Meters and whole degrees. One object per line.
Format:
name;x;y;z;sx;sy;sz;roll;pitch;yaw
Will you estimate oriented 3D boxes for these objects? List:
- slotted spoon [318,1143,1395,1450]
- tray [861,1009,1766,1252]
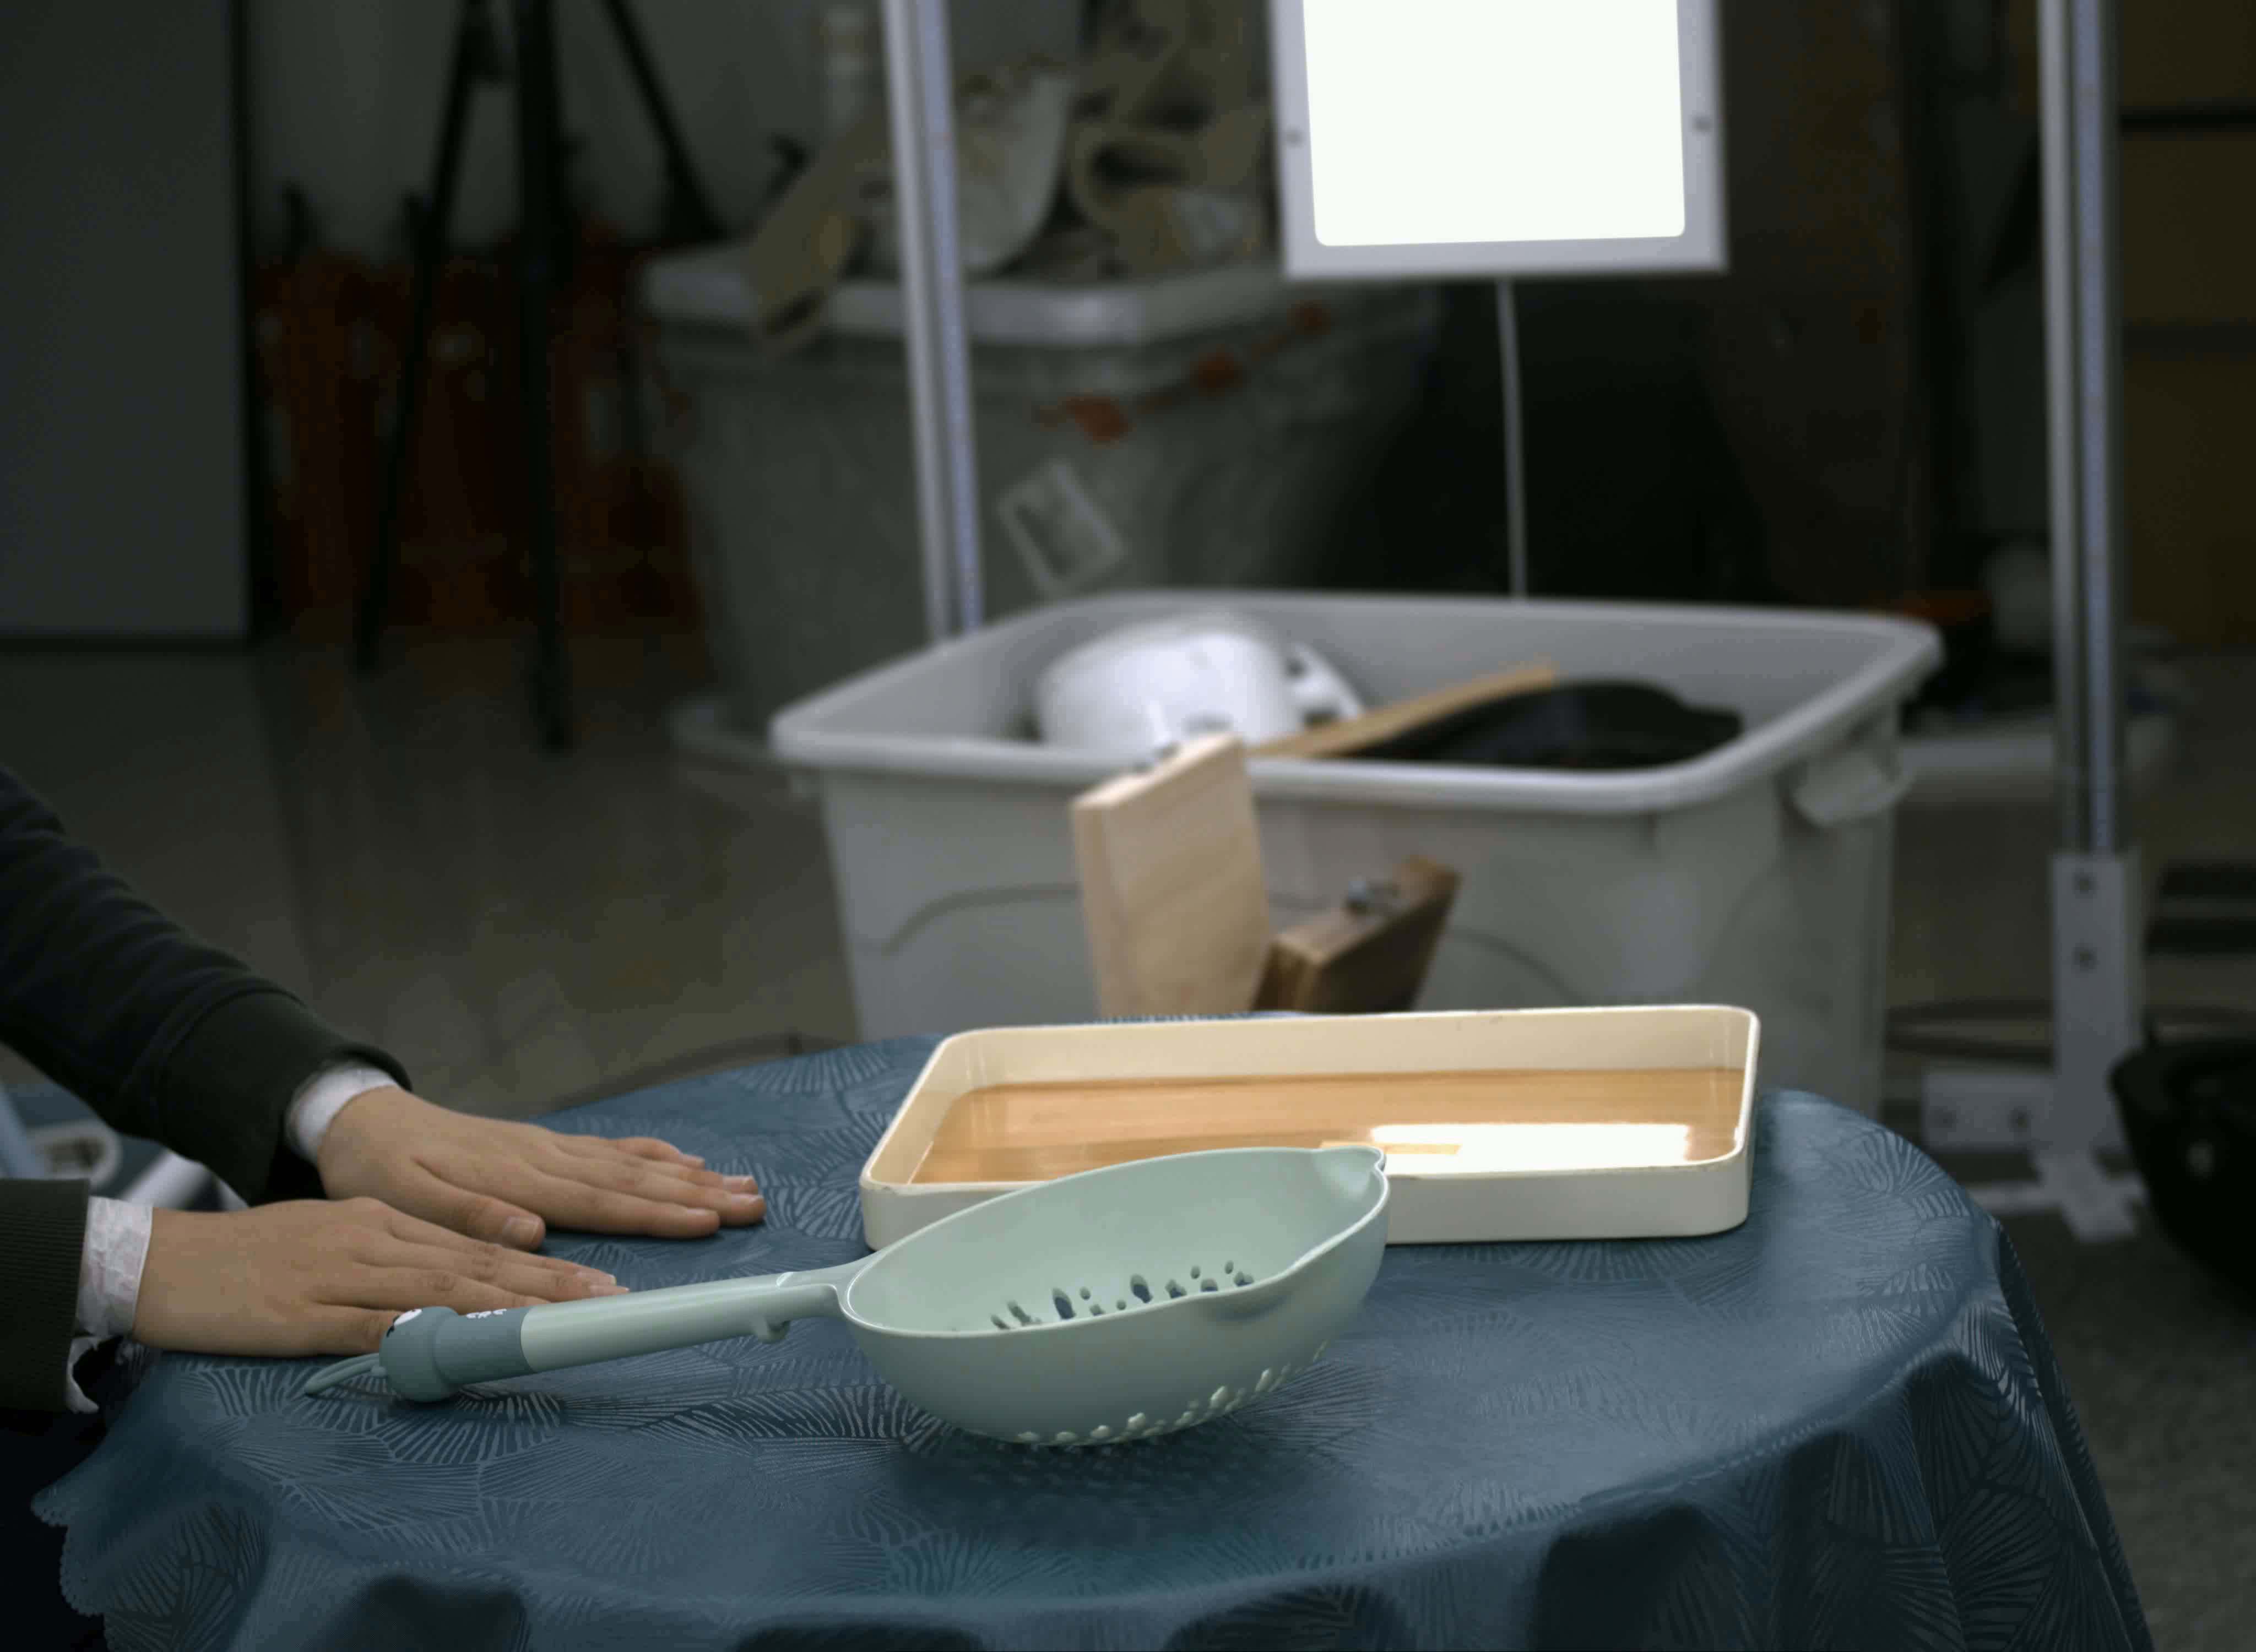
slotted spoon;-0.091;0.149;1.702;0.363;0.075;0.166;0;14;20
tray;0.069;0.105;1.906;0.302;0.027;0.189;-2;14;11
